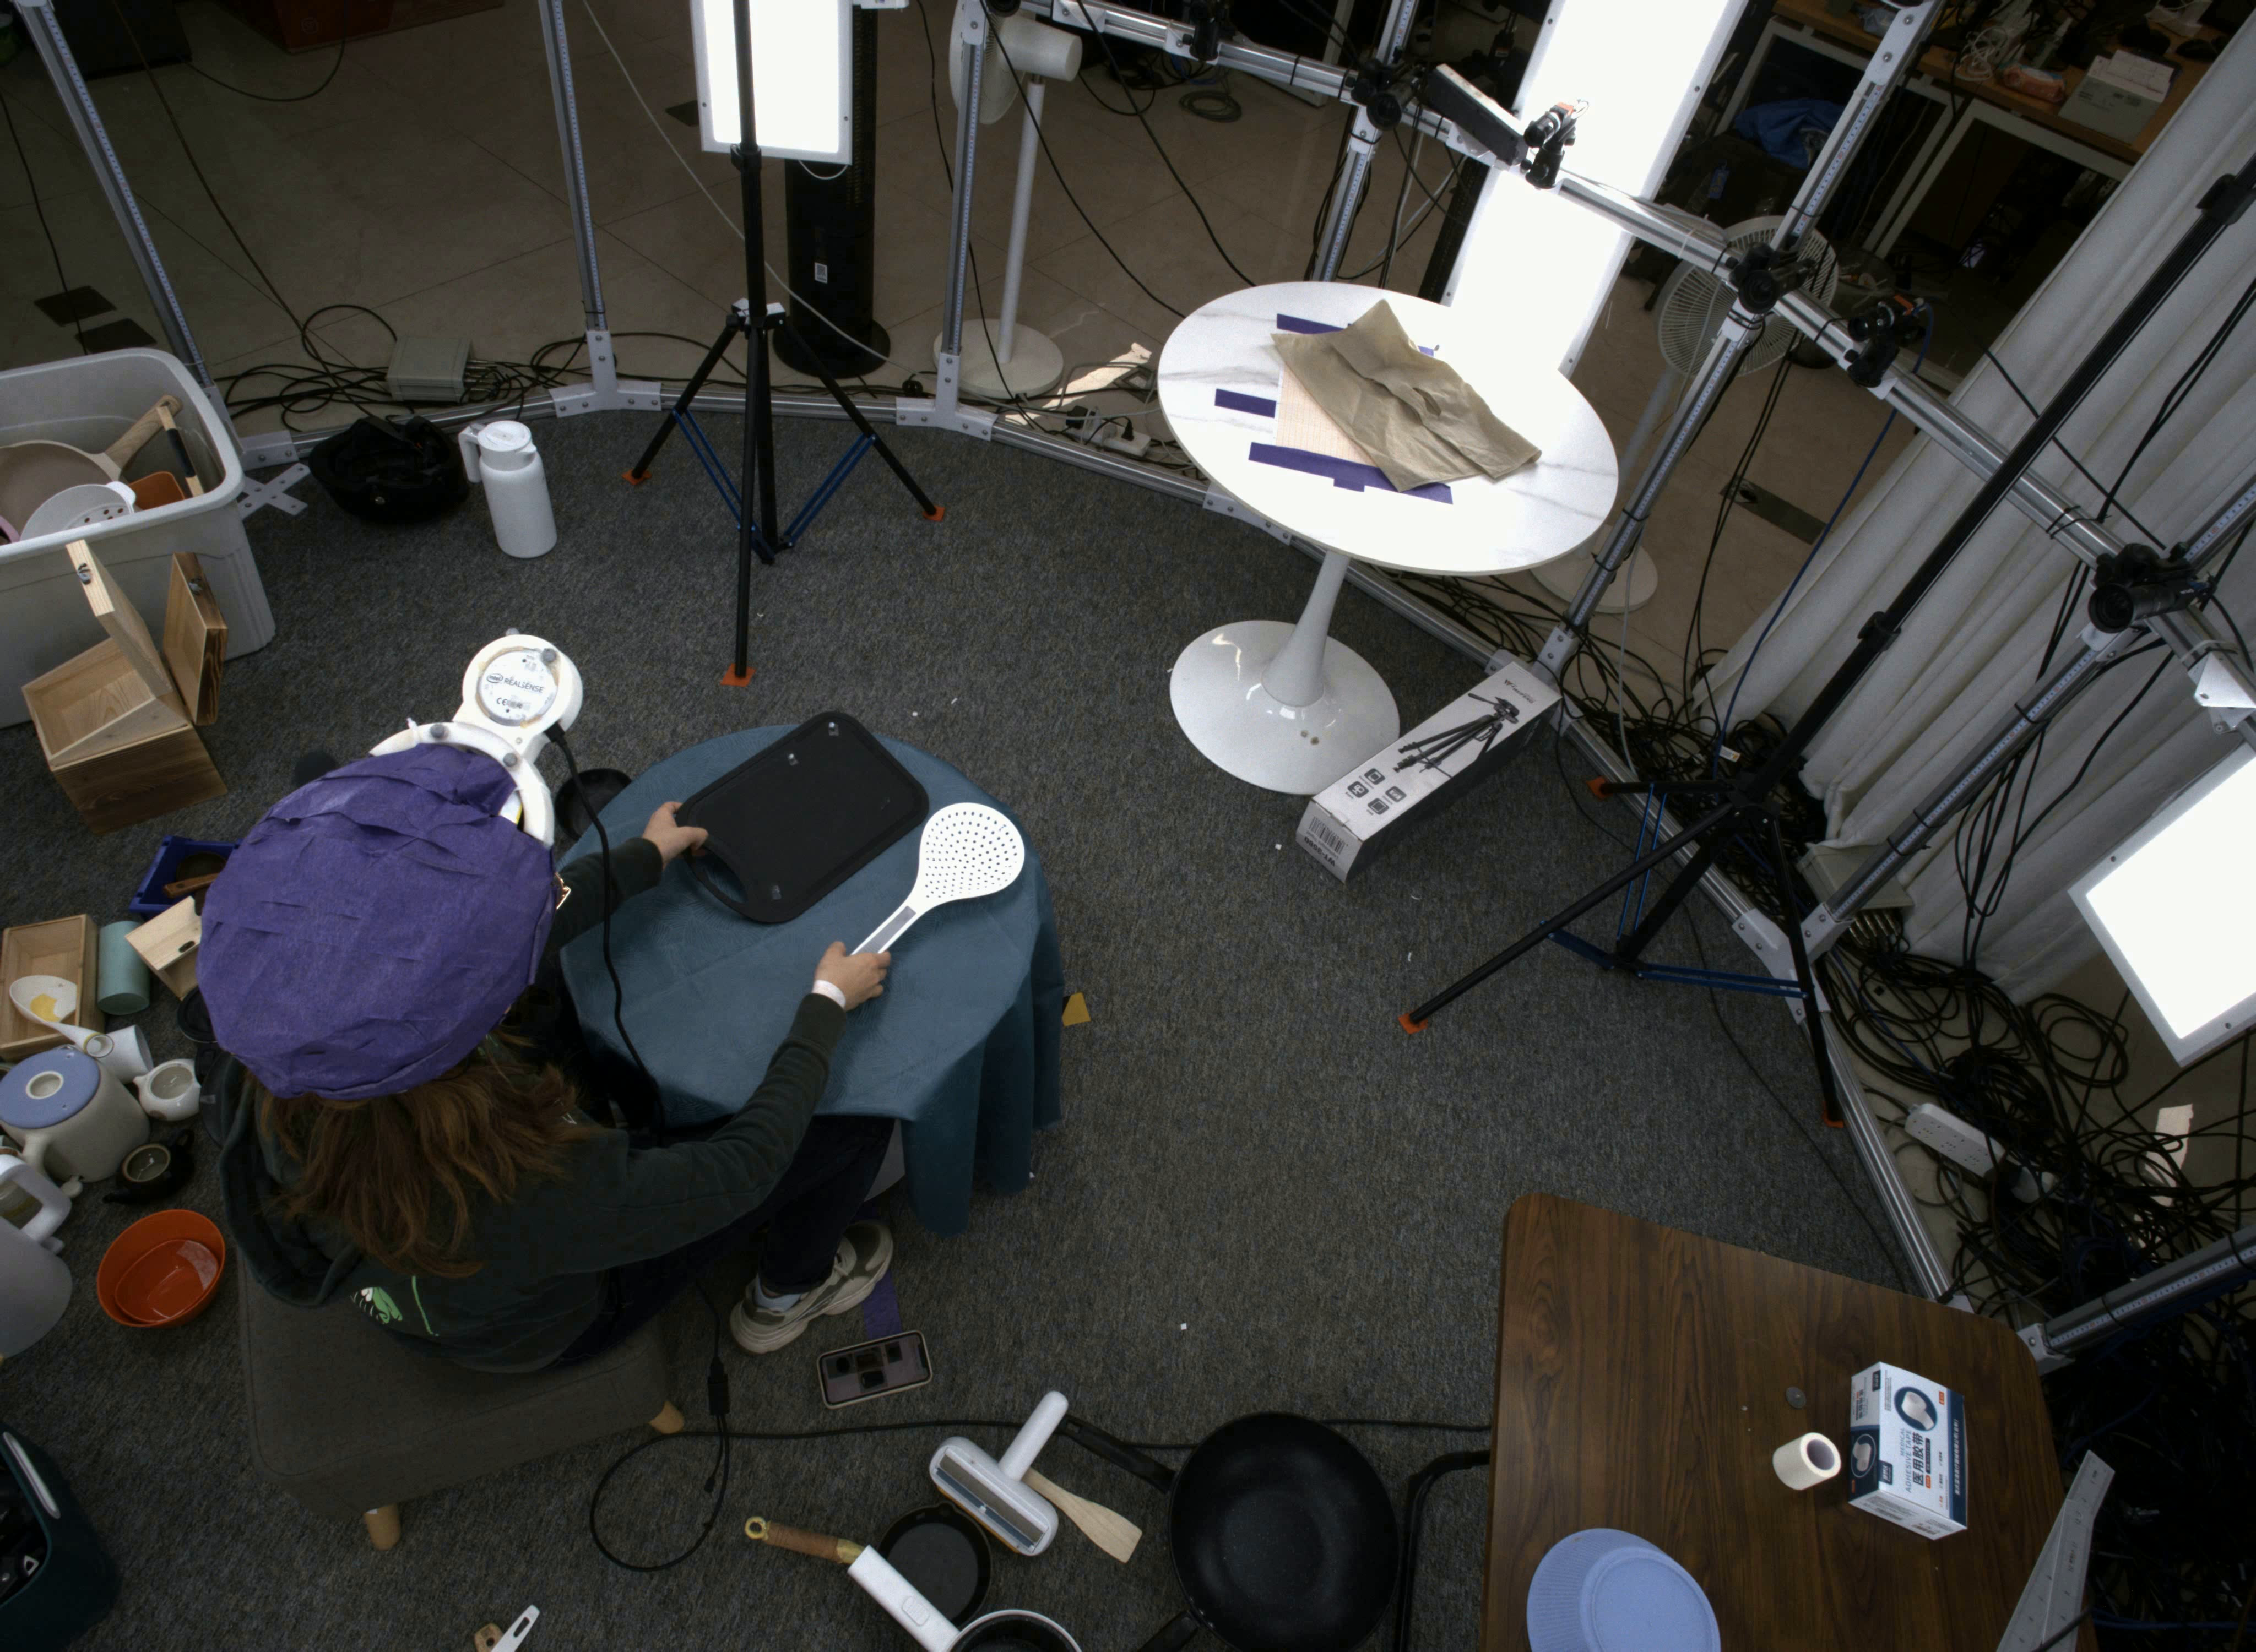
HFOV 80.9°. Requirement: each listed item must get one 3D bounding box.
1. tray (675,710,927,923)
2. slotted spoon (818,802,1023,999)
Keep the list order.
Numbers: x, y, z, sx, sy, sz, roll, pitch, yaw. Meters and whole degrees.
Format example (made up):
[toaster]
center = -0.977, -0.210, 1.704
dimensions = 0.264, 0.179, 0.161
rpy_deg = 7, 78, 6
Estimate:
[tray]
center = -0.430, -0.016, 1.705
dimensions = 0.210, 0.010, 0.325
rpy_deg = 46, 55, 4
[slotted spoon]
center = -0.267, 0.095, 1.658
dimensions = 0.135, 0.046, 0.349
rpy_deg = 40, 50, 5
